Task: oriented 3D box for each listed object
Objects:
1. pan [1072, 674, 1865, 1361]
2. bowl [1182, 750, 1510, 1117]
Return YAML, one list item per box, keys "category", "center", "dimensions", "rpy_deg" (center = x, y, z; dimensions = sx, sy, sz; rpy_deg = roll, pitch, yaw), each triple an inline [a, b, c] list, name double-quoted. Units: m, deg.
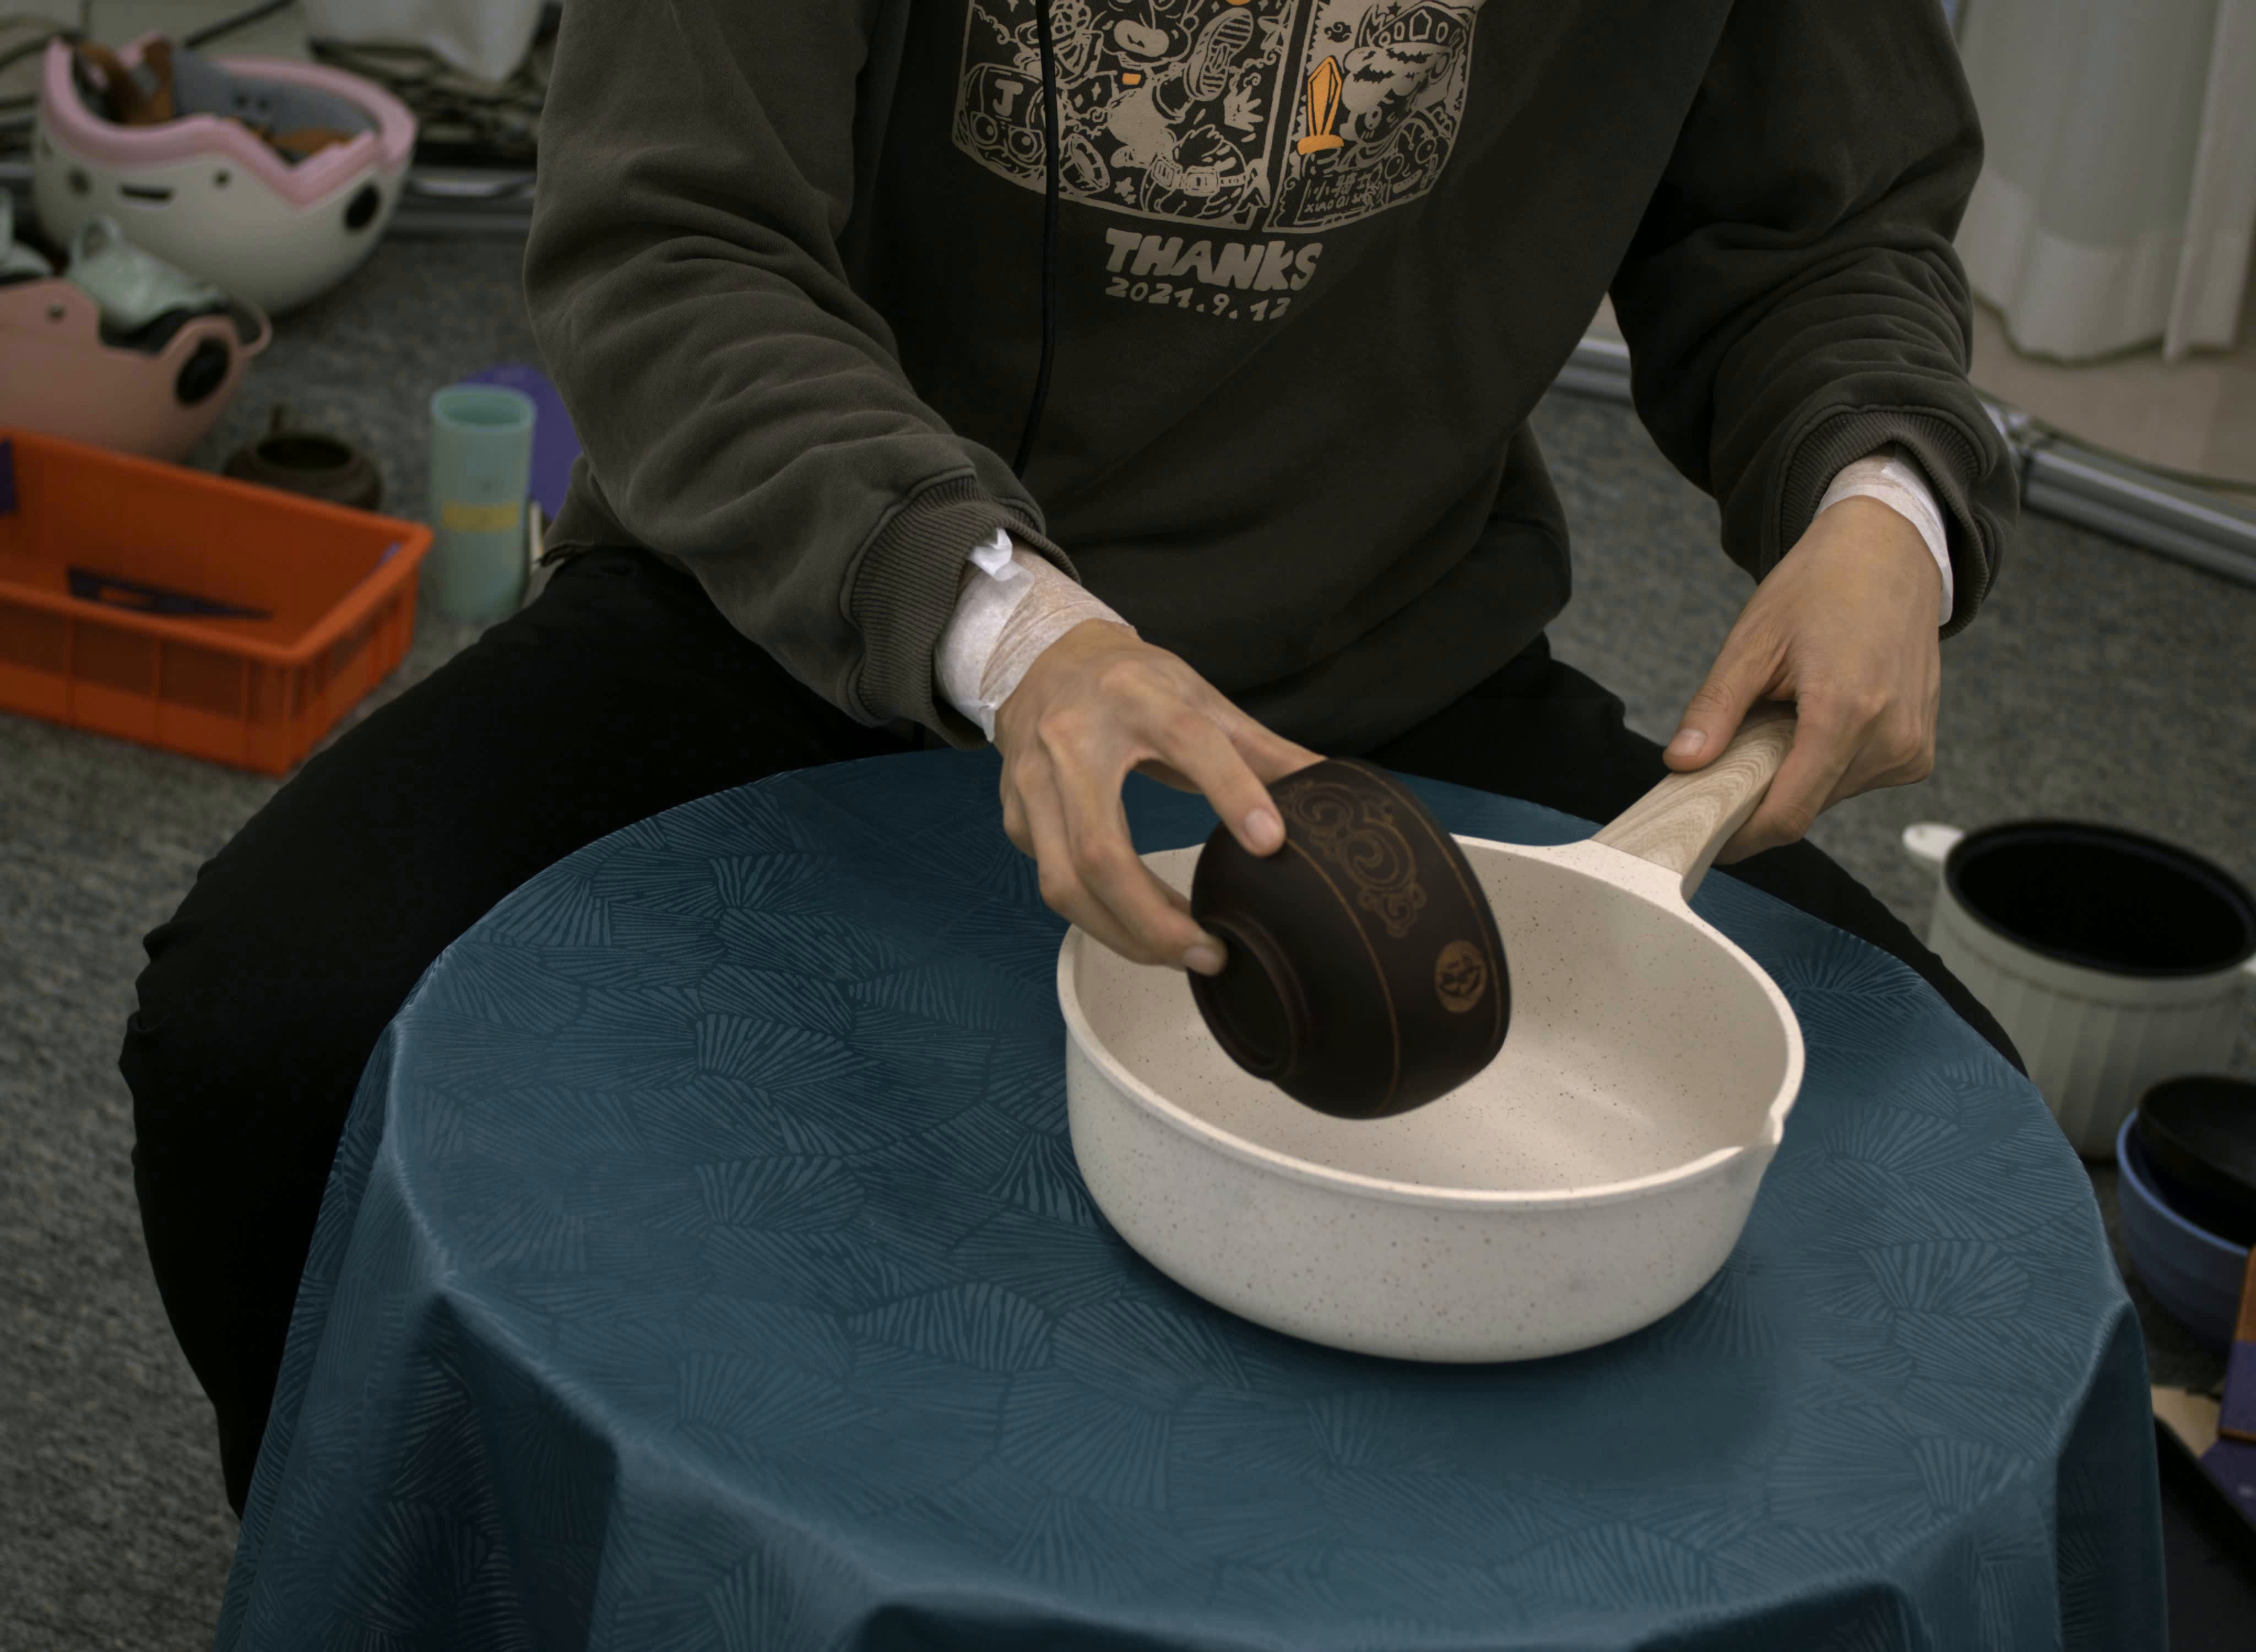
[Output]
- category: "pan"
  center: [0.152, 0.059, 1.858]
  dimensions: [0.265, 0.101, 0.434]
  rpy_deg: [19, 29, 27]
- category: "bowl"
  center: [0.061, 0.041, 1.722]
  dimensions: [0.069, 0.117, 0.119]
  rpy_deg: [-26, 39, -28]
